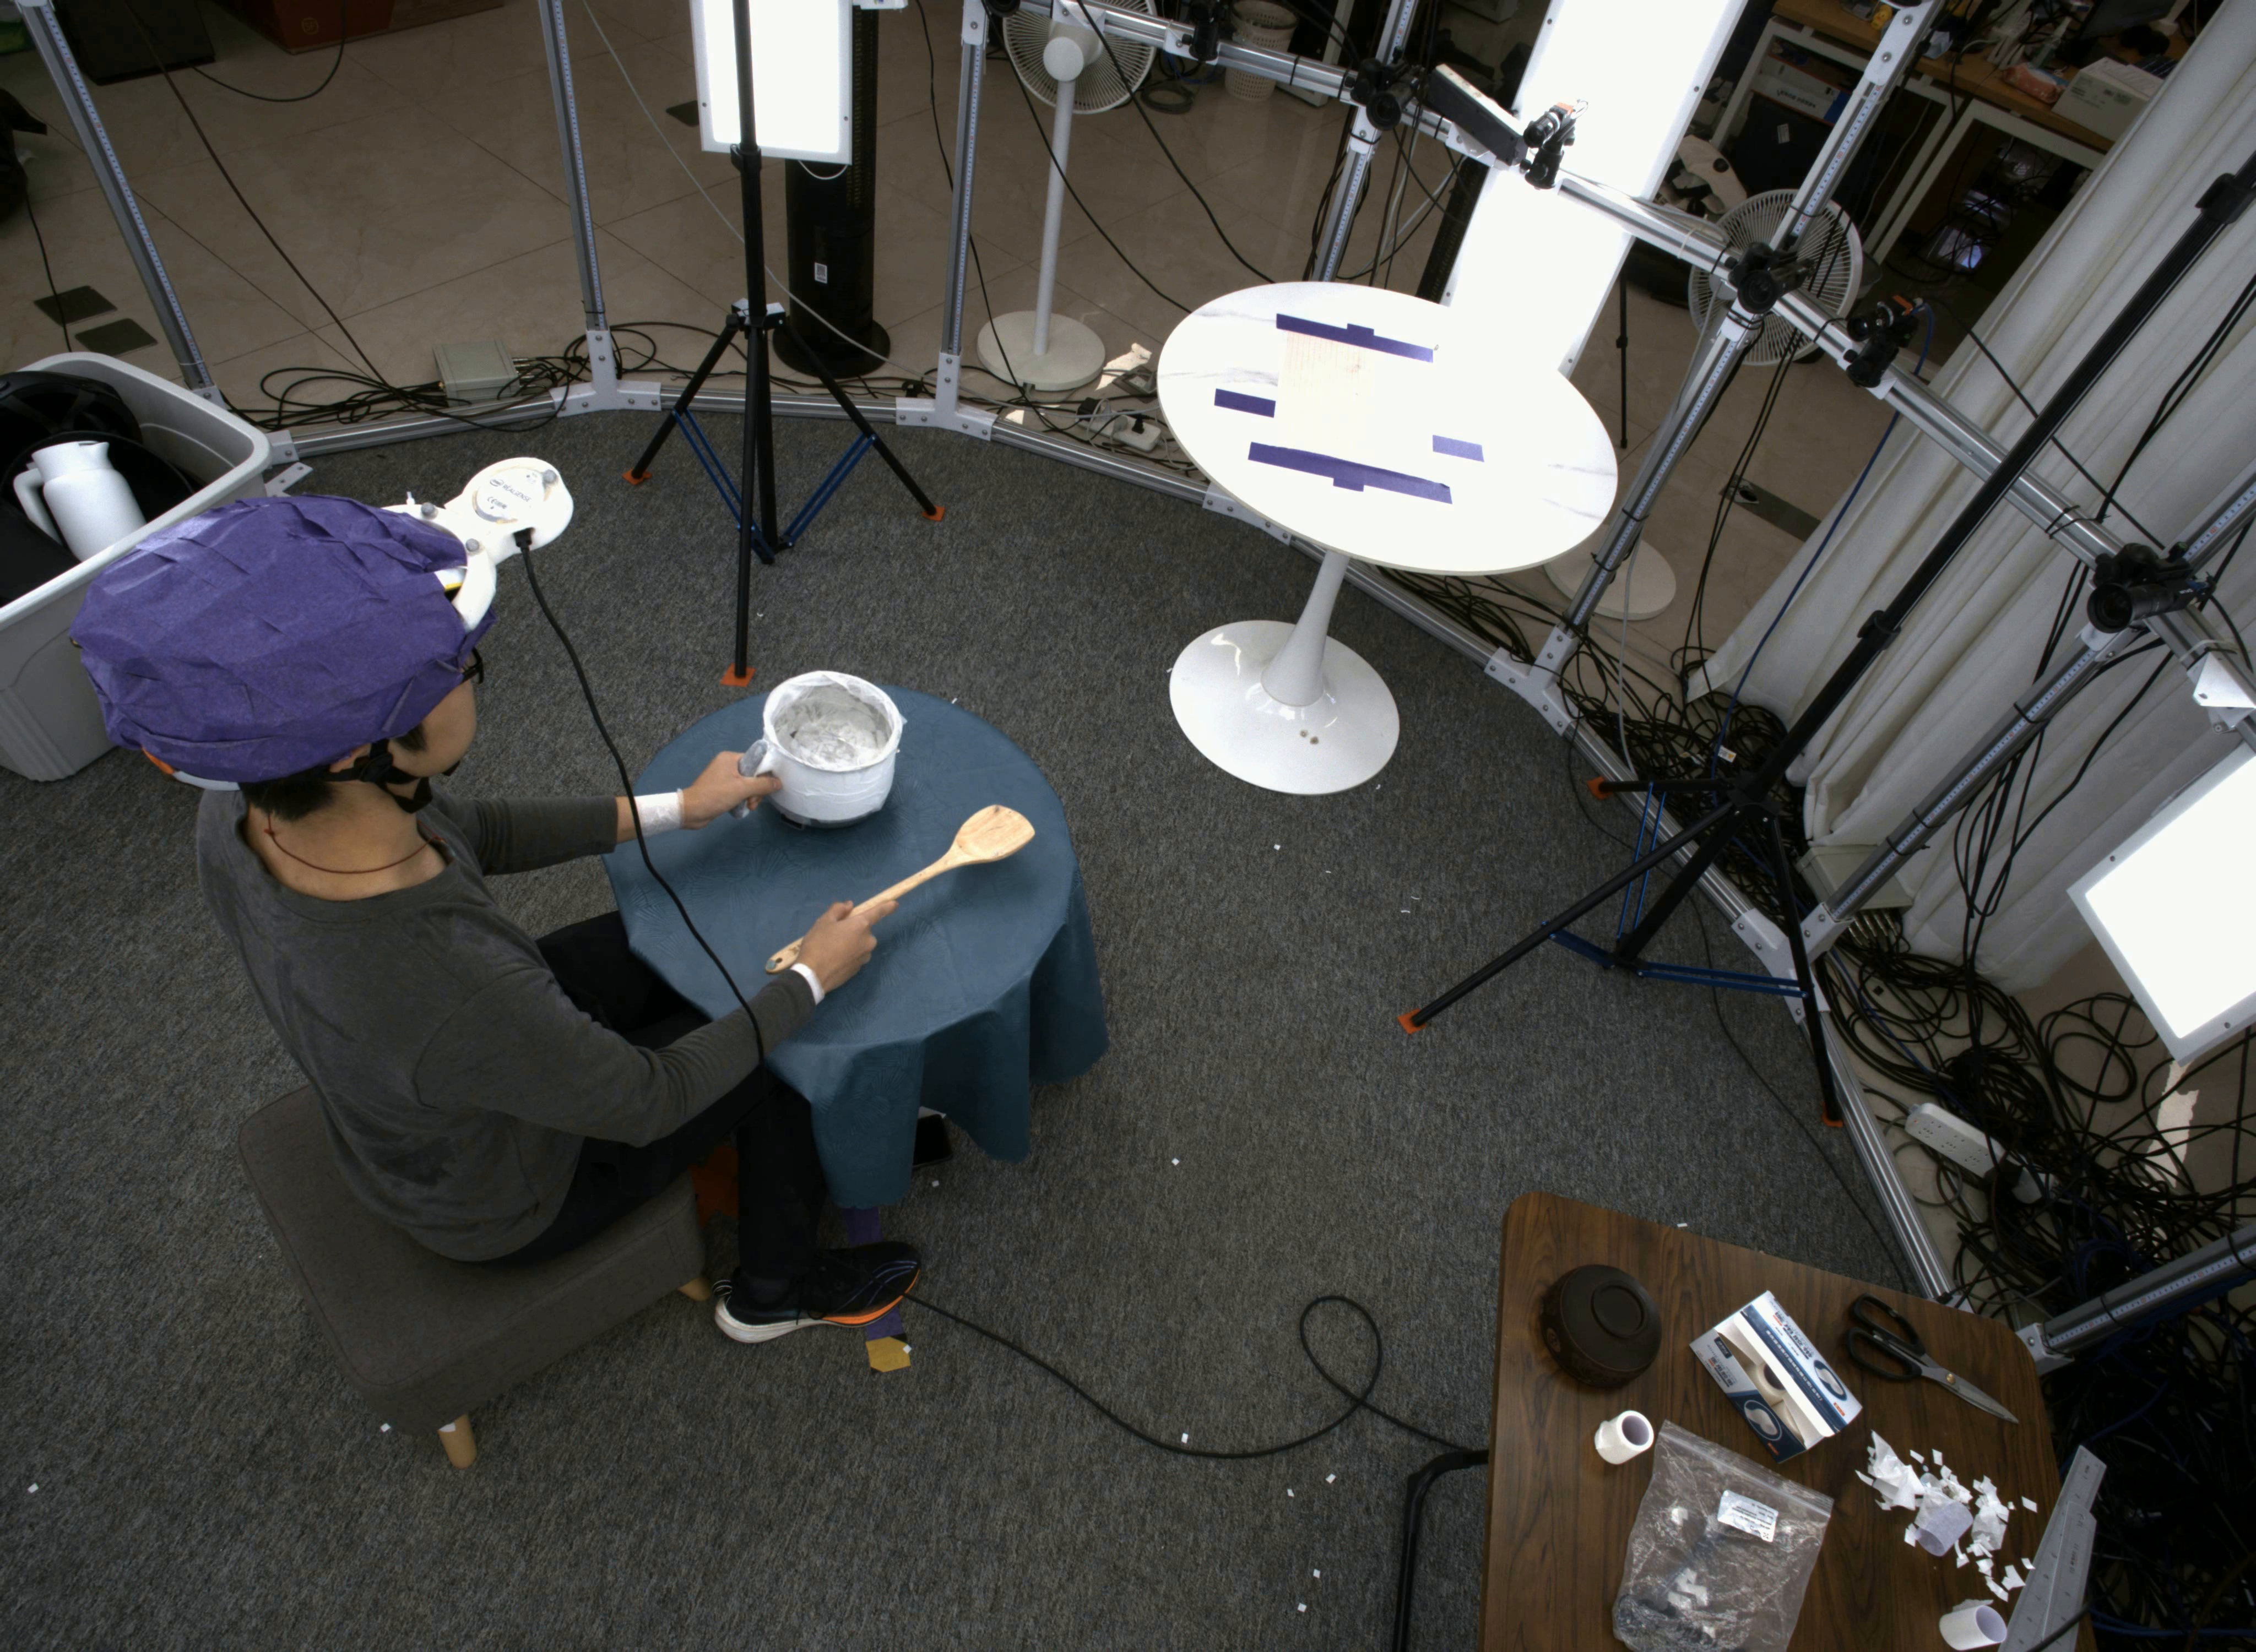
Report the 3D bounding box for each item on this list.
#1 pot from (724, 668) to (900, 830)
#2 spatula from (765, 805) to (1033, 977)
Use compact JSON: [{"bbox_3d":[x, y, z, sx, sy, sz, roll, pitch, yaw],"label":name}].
[{"bbox_3d":[-0.418,-0.088,1.697,0.235,0.139,0.174,-27,64,-36],"label":"pot"},{"bbox_3d":[-0.285,0.081,1.634,0.392,0.019,0.092,-33,49,-31],"label":"spatula"}]
